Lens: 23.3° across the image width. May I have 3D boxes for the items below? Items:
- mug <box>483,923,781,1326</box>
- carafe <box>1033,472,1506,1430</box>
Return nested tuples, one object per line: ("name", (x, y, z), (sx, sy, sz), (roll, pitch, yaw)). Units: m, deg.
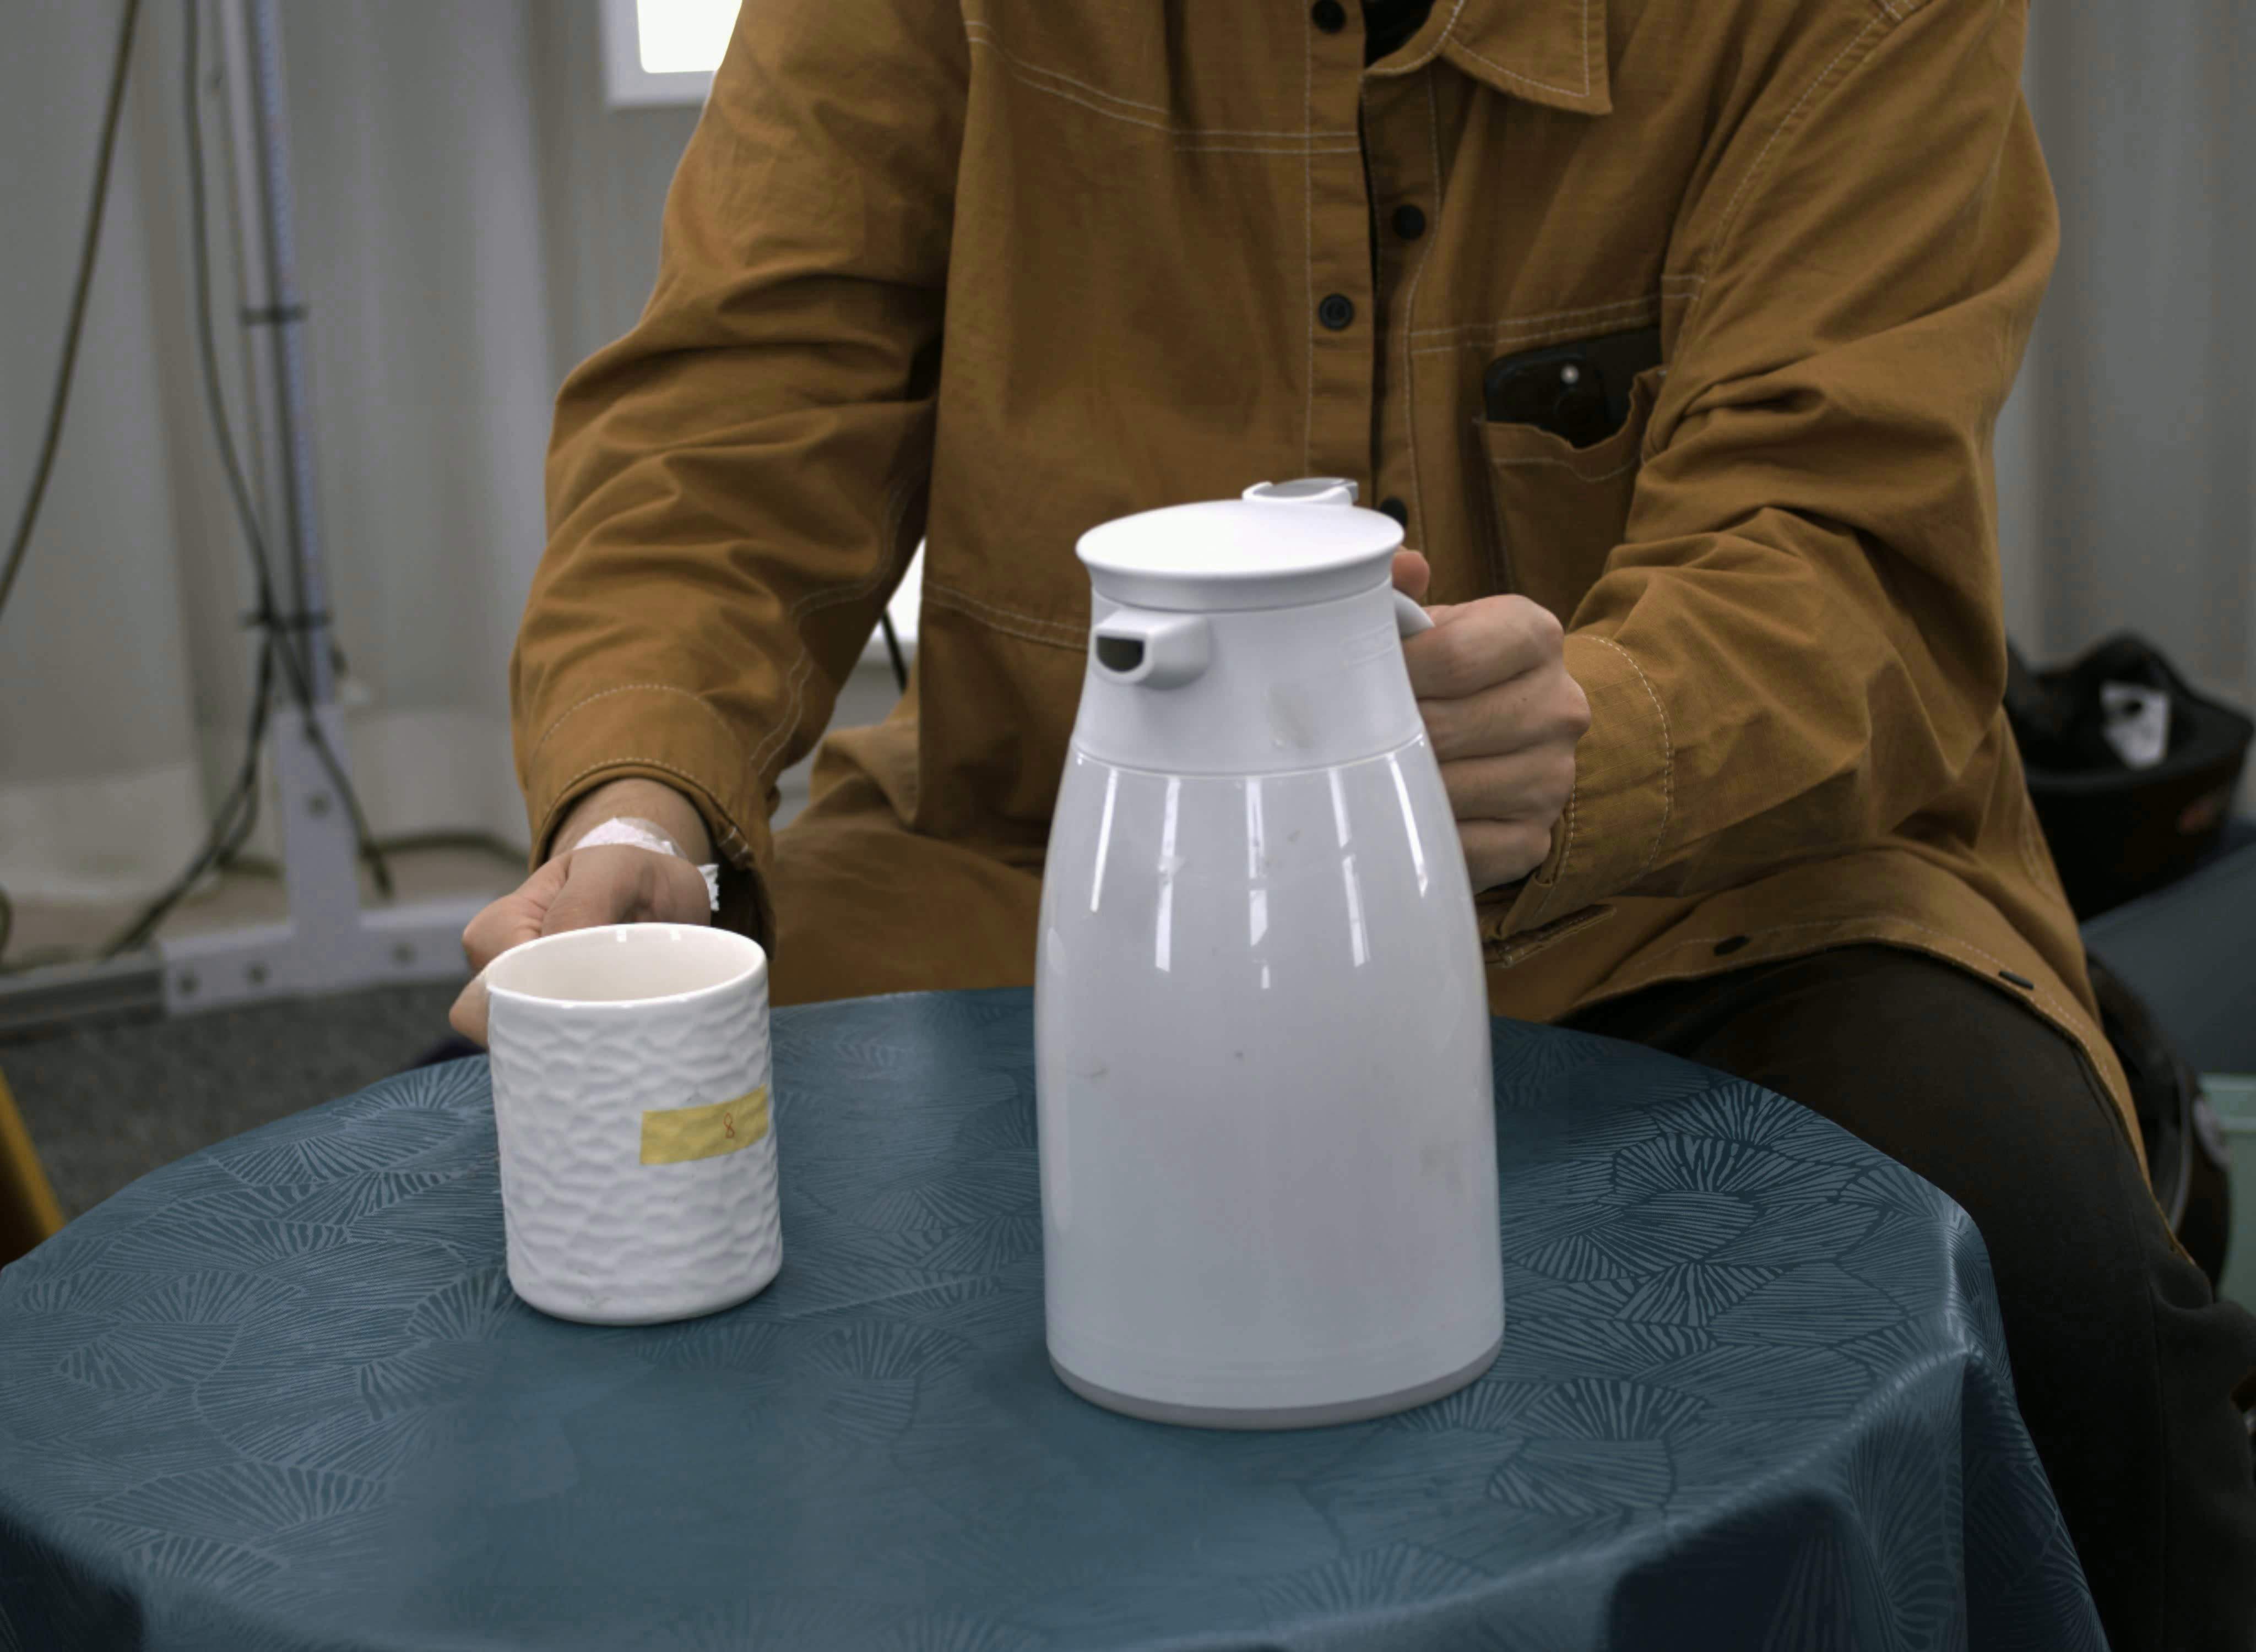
("mug", (-0.153, 0.086, 1.656), (0.084, 0.101, 0.119), (-7, 14, -19))
("carafe", (0.045, 0.027, 1.558), (0.133, 0.248, 0.168), (5, 15, 32))
